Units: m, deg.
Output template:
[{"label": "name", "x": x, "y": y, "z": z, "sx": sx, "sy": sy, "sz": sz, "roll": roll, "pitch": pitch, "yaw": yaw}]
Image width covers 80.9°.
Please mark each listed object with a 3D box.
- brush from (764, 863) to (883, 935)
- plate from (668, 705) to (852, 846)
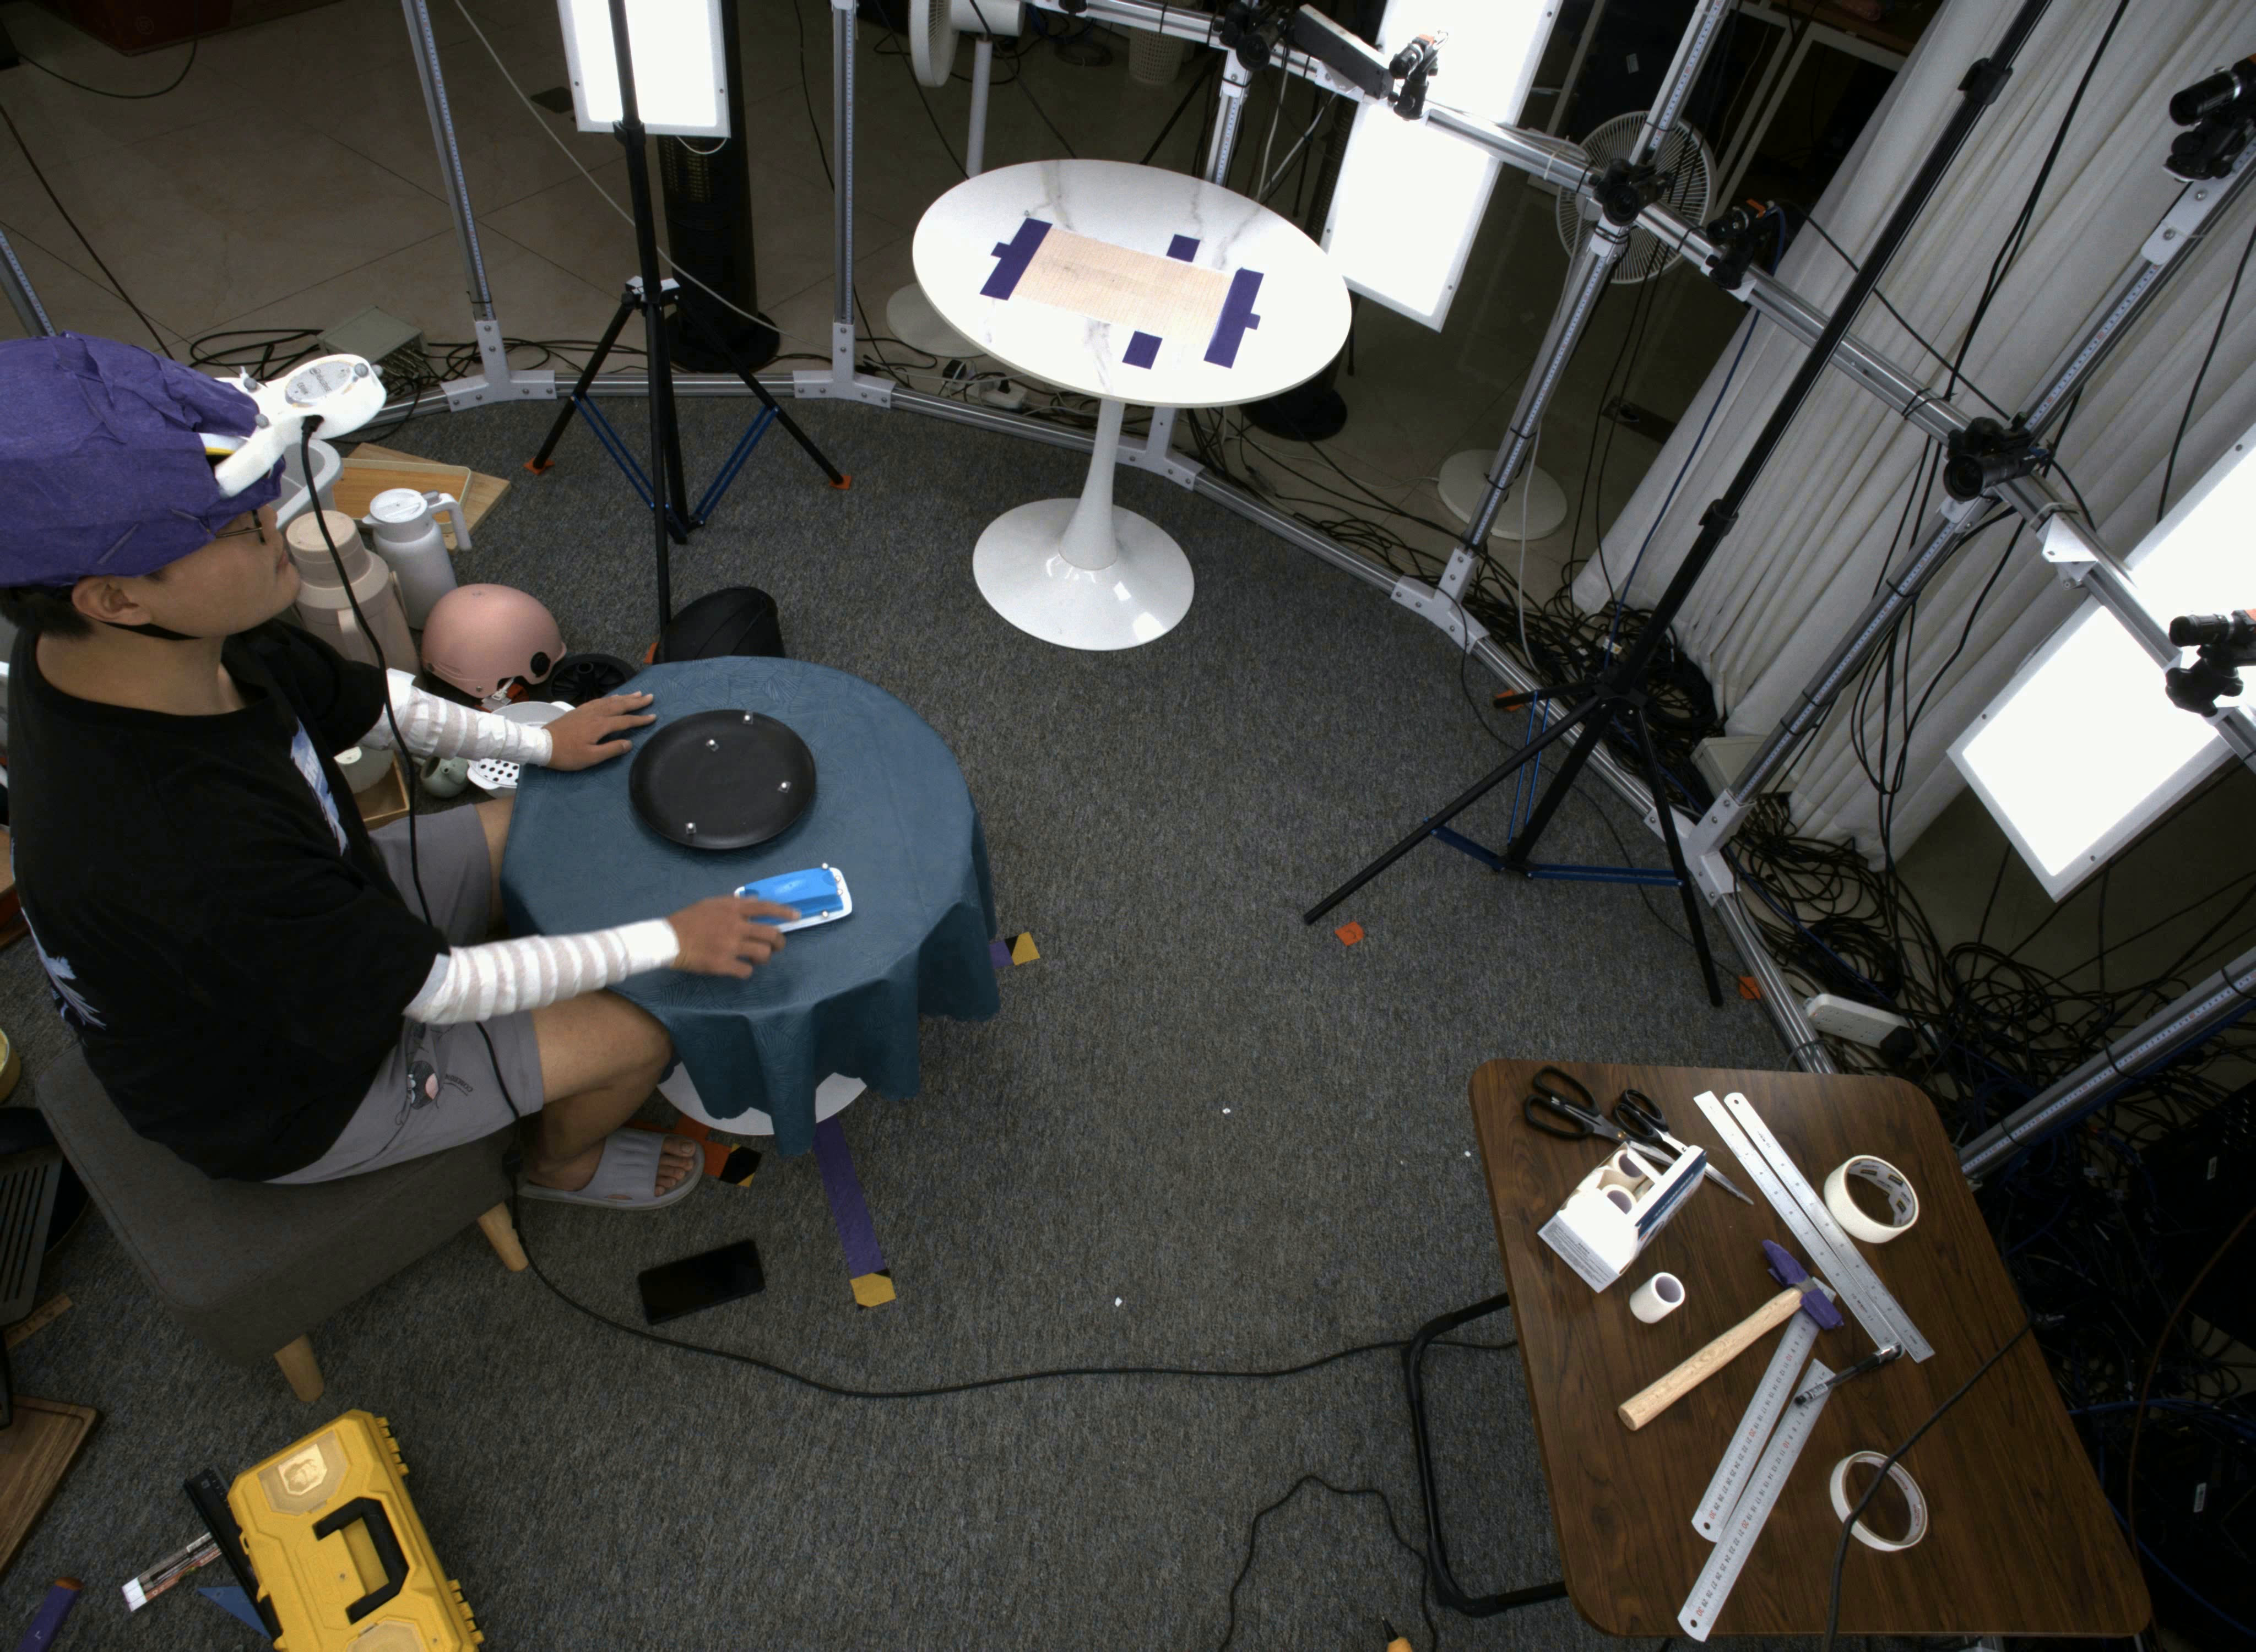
[{"label": "brush", "x": -0.386, "y": 0.083, "z": 1.642, "sx": 0.145, "sy": 0.057, "sz": 0.081, "roll": -11, "pitch": 52, "yaw": -24}, {"label": "plate", "x": -0.496, "y": -0.067, "z": 1.750, "sx": 0.244, "sy": 0.024, "sz": 0.240, "roll": 8, "pitch": 53, "yaw": -9}]
